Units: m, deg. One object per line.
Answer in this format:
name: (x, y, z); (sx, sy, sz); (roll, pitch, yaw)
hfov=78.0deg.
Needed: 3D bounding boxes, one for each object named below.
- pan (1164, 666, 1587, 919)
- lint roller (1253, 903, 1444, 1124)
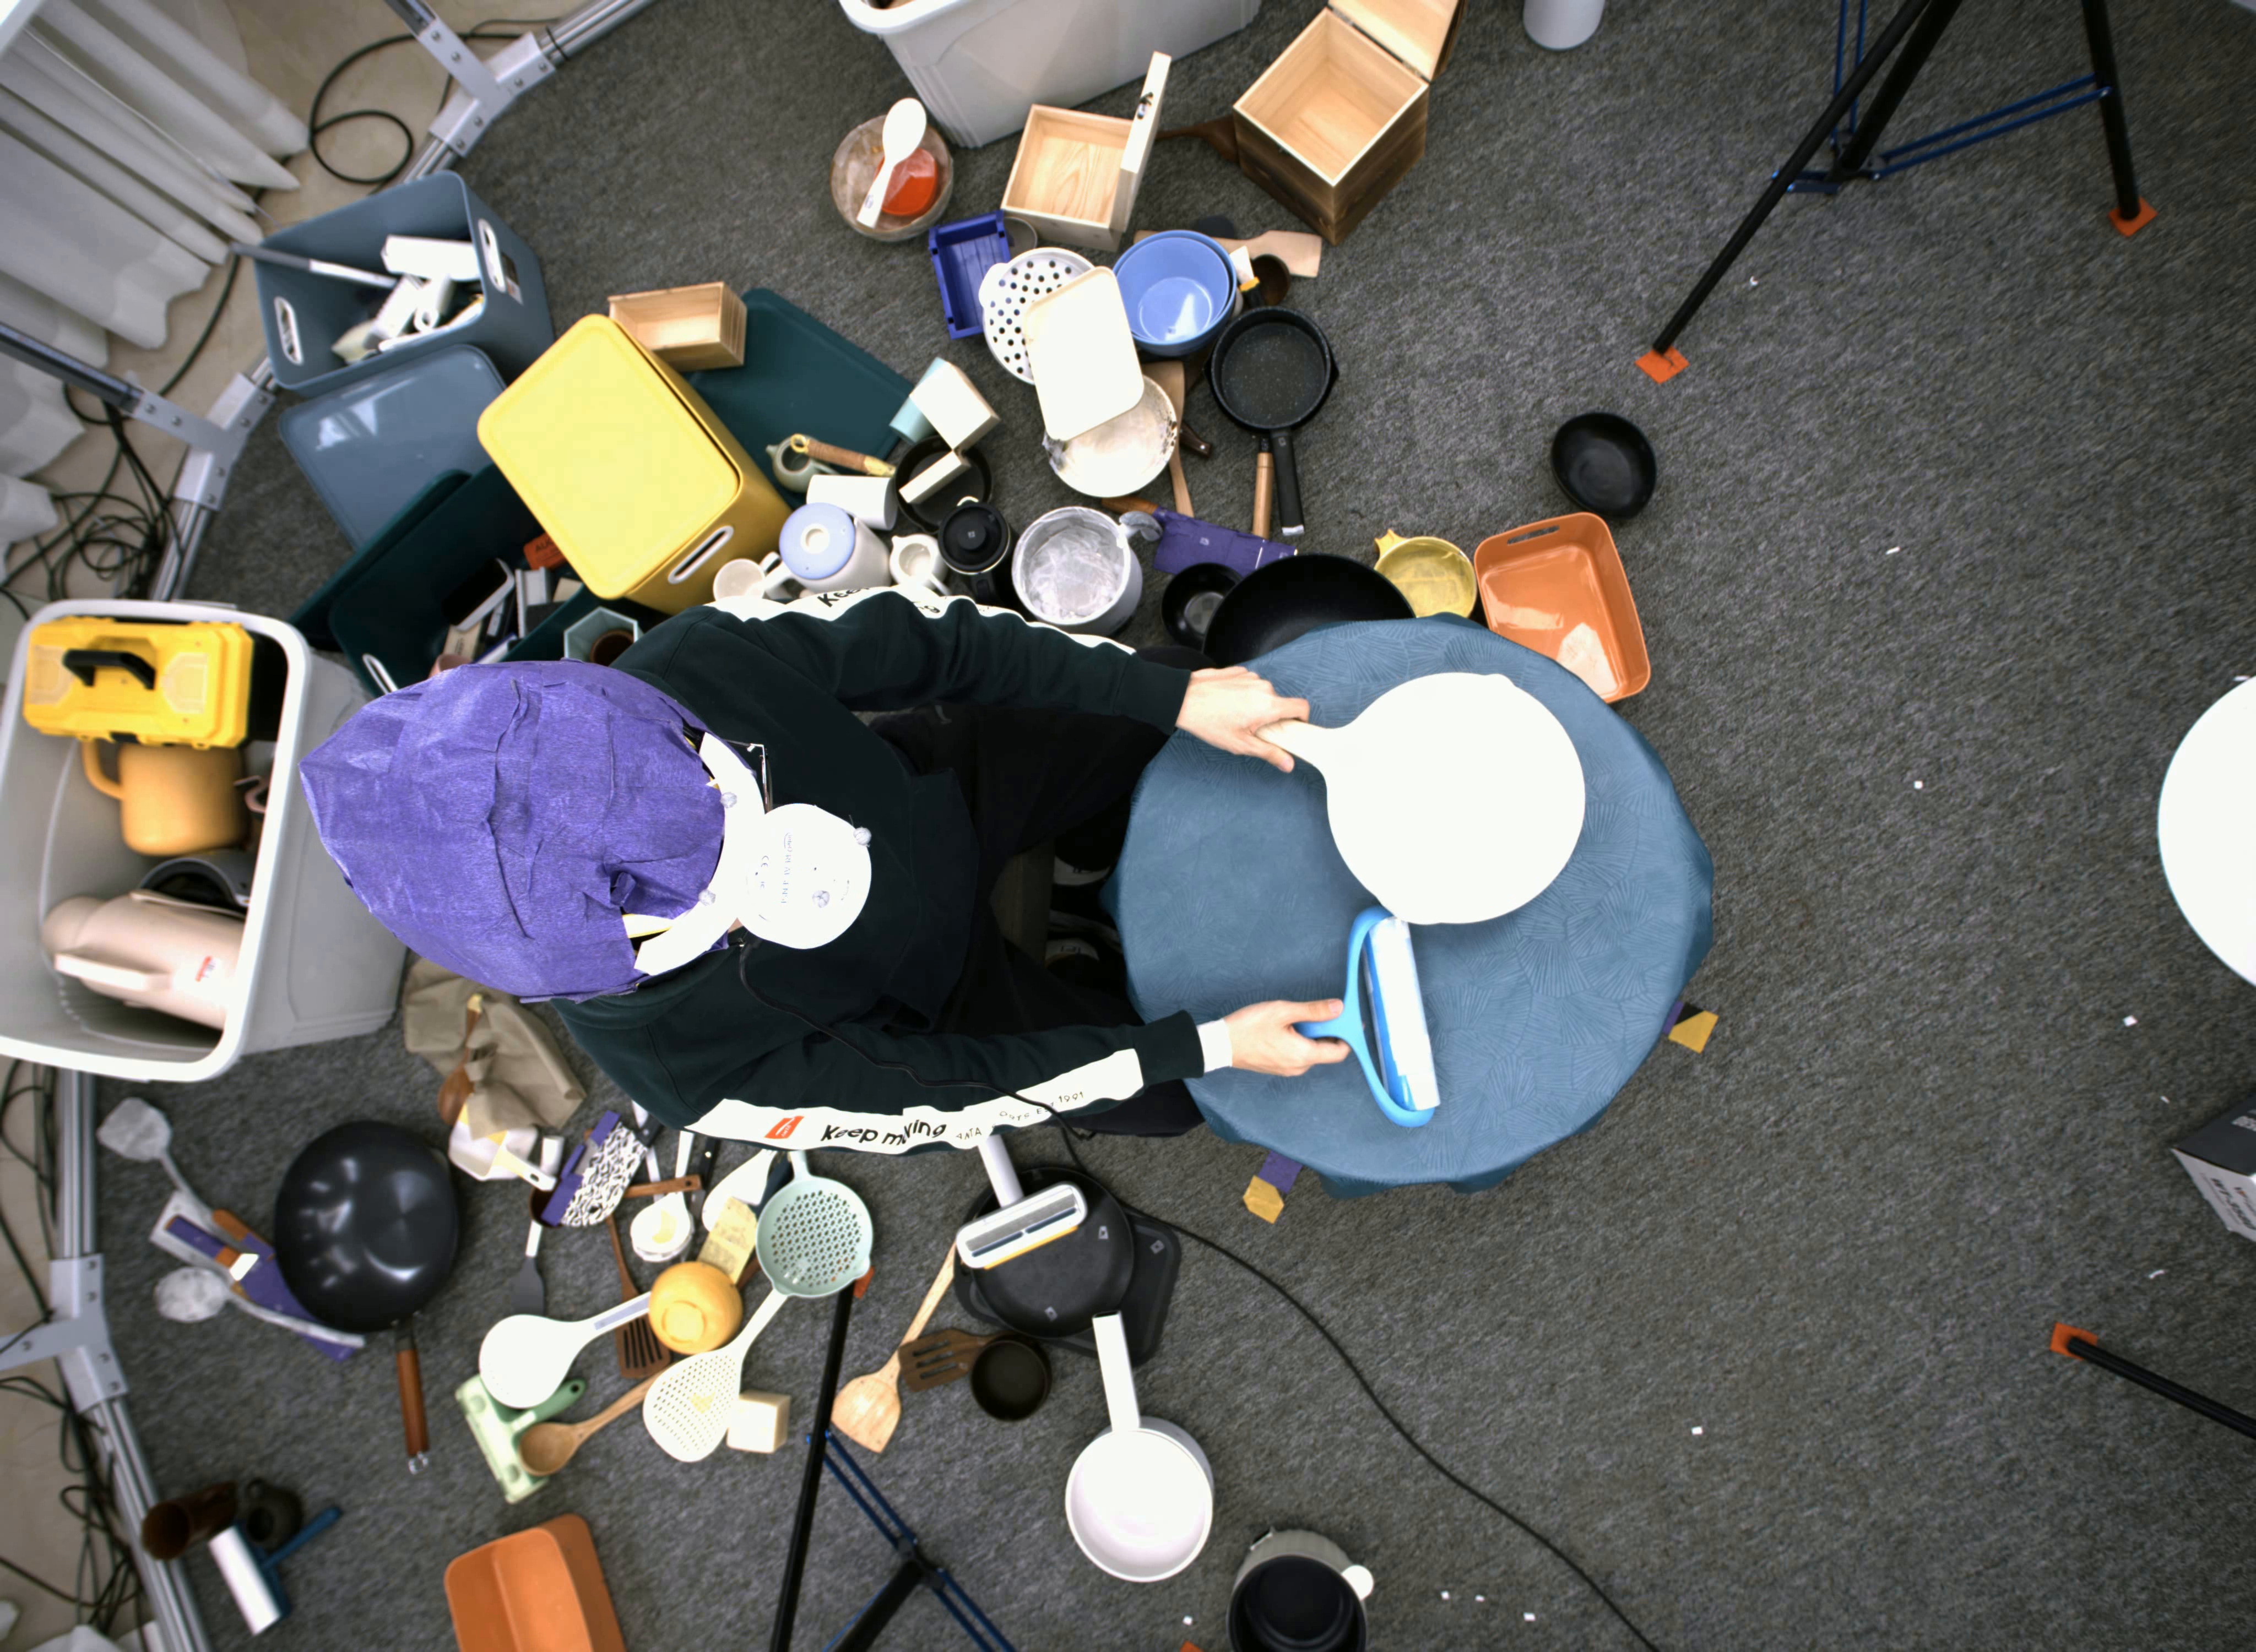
pan: (0.248, -0.064, 1.416); (0.435, 0.102, 0.263); (21, 92, 15)
lint roller: (0.221, 0.202, 1.417); (0.180, 0.068, 0.228); (-12, 87, -3)
